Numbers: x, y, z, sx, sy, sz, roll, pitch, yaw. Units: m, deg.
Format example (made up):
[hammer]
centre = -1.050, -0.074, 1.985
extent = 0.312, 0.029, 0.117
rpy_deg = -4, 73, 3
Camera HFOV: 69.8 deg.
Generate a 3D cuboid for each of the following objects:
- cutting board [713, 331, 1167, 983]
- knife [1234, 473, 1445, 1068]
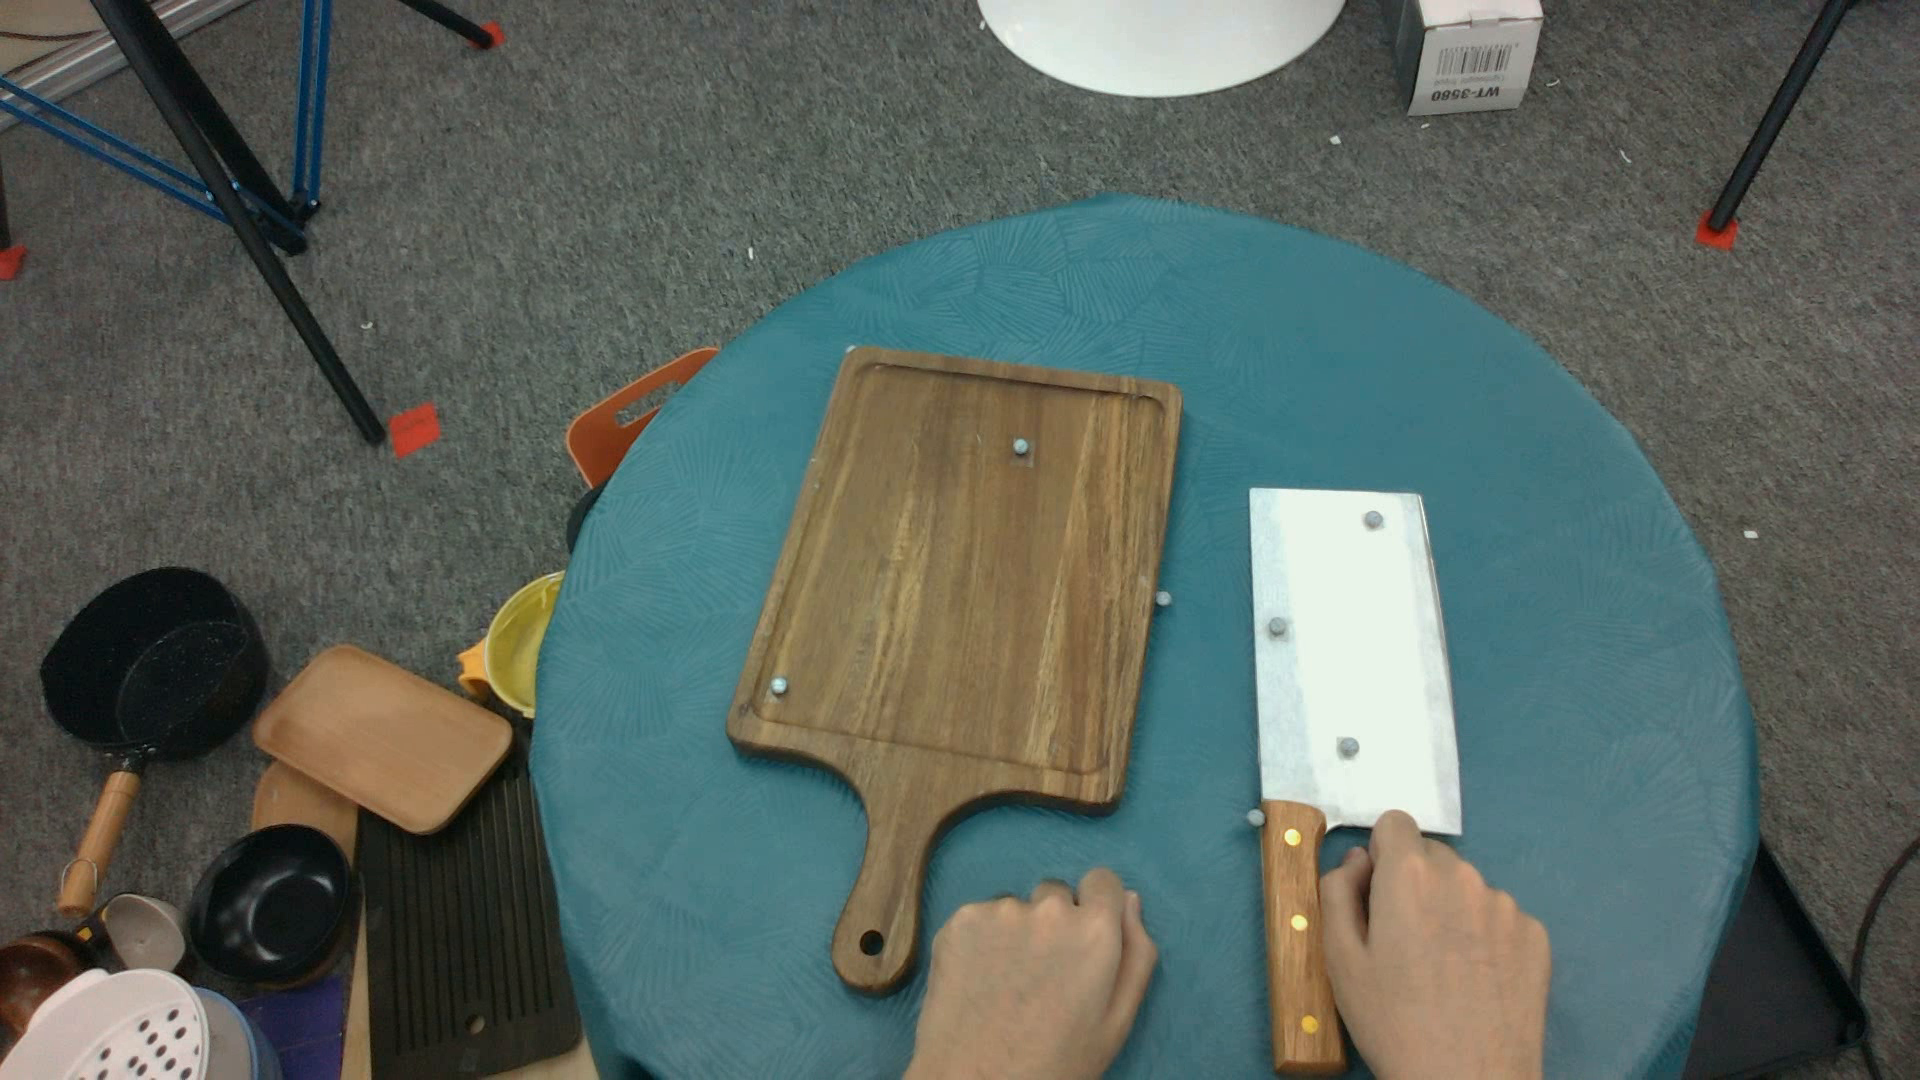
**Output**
[cutting board]
centre = -0.011, 0.042, 0.693
extent = 0.201, 0.023, 0.353
rpy_deg = 8, 60, 9
[knife]
centre = 0.180, 0.092, 0.652
extent = 0.093, 0.021, 0.307
rpy_deg = 3, 56, 4
